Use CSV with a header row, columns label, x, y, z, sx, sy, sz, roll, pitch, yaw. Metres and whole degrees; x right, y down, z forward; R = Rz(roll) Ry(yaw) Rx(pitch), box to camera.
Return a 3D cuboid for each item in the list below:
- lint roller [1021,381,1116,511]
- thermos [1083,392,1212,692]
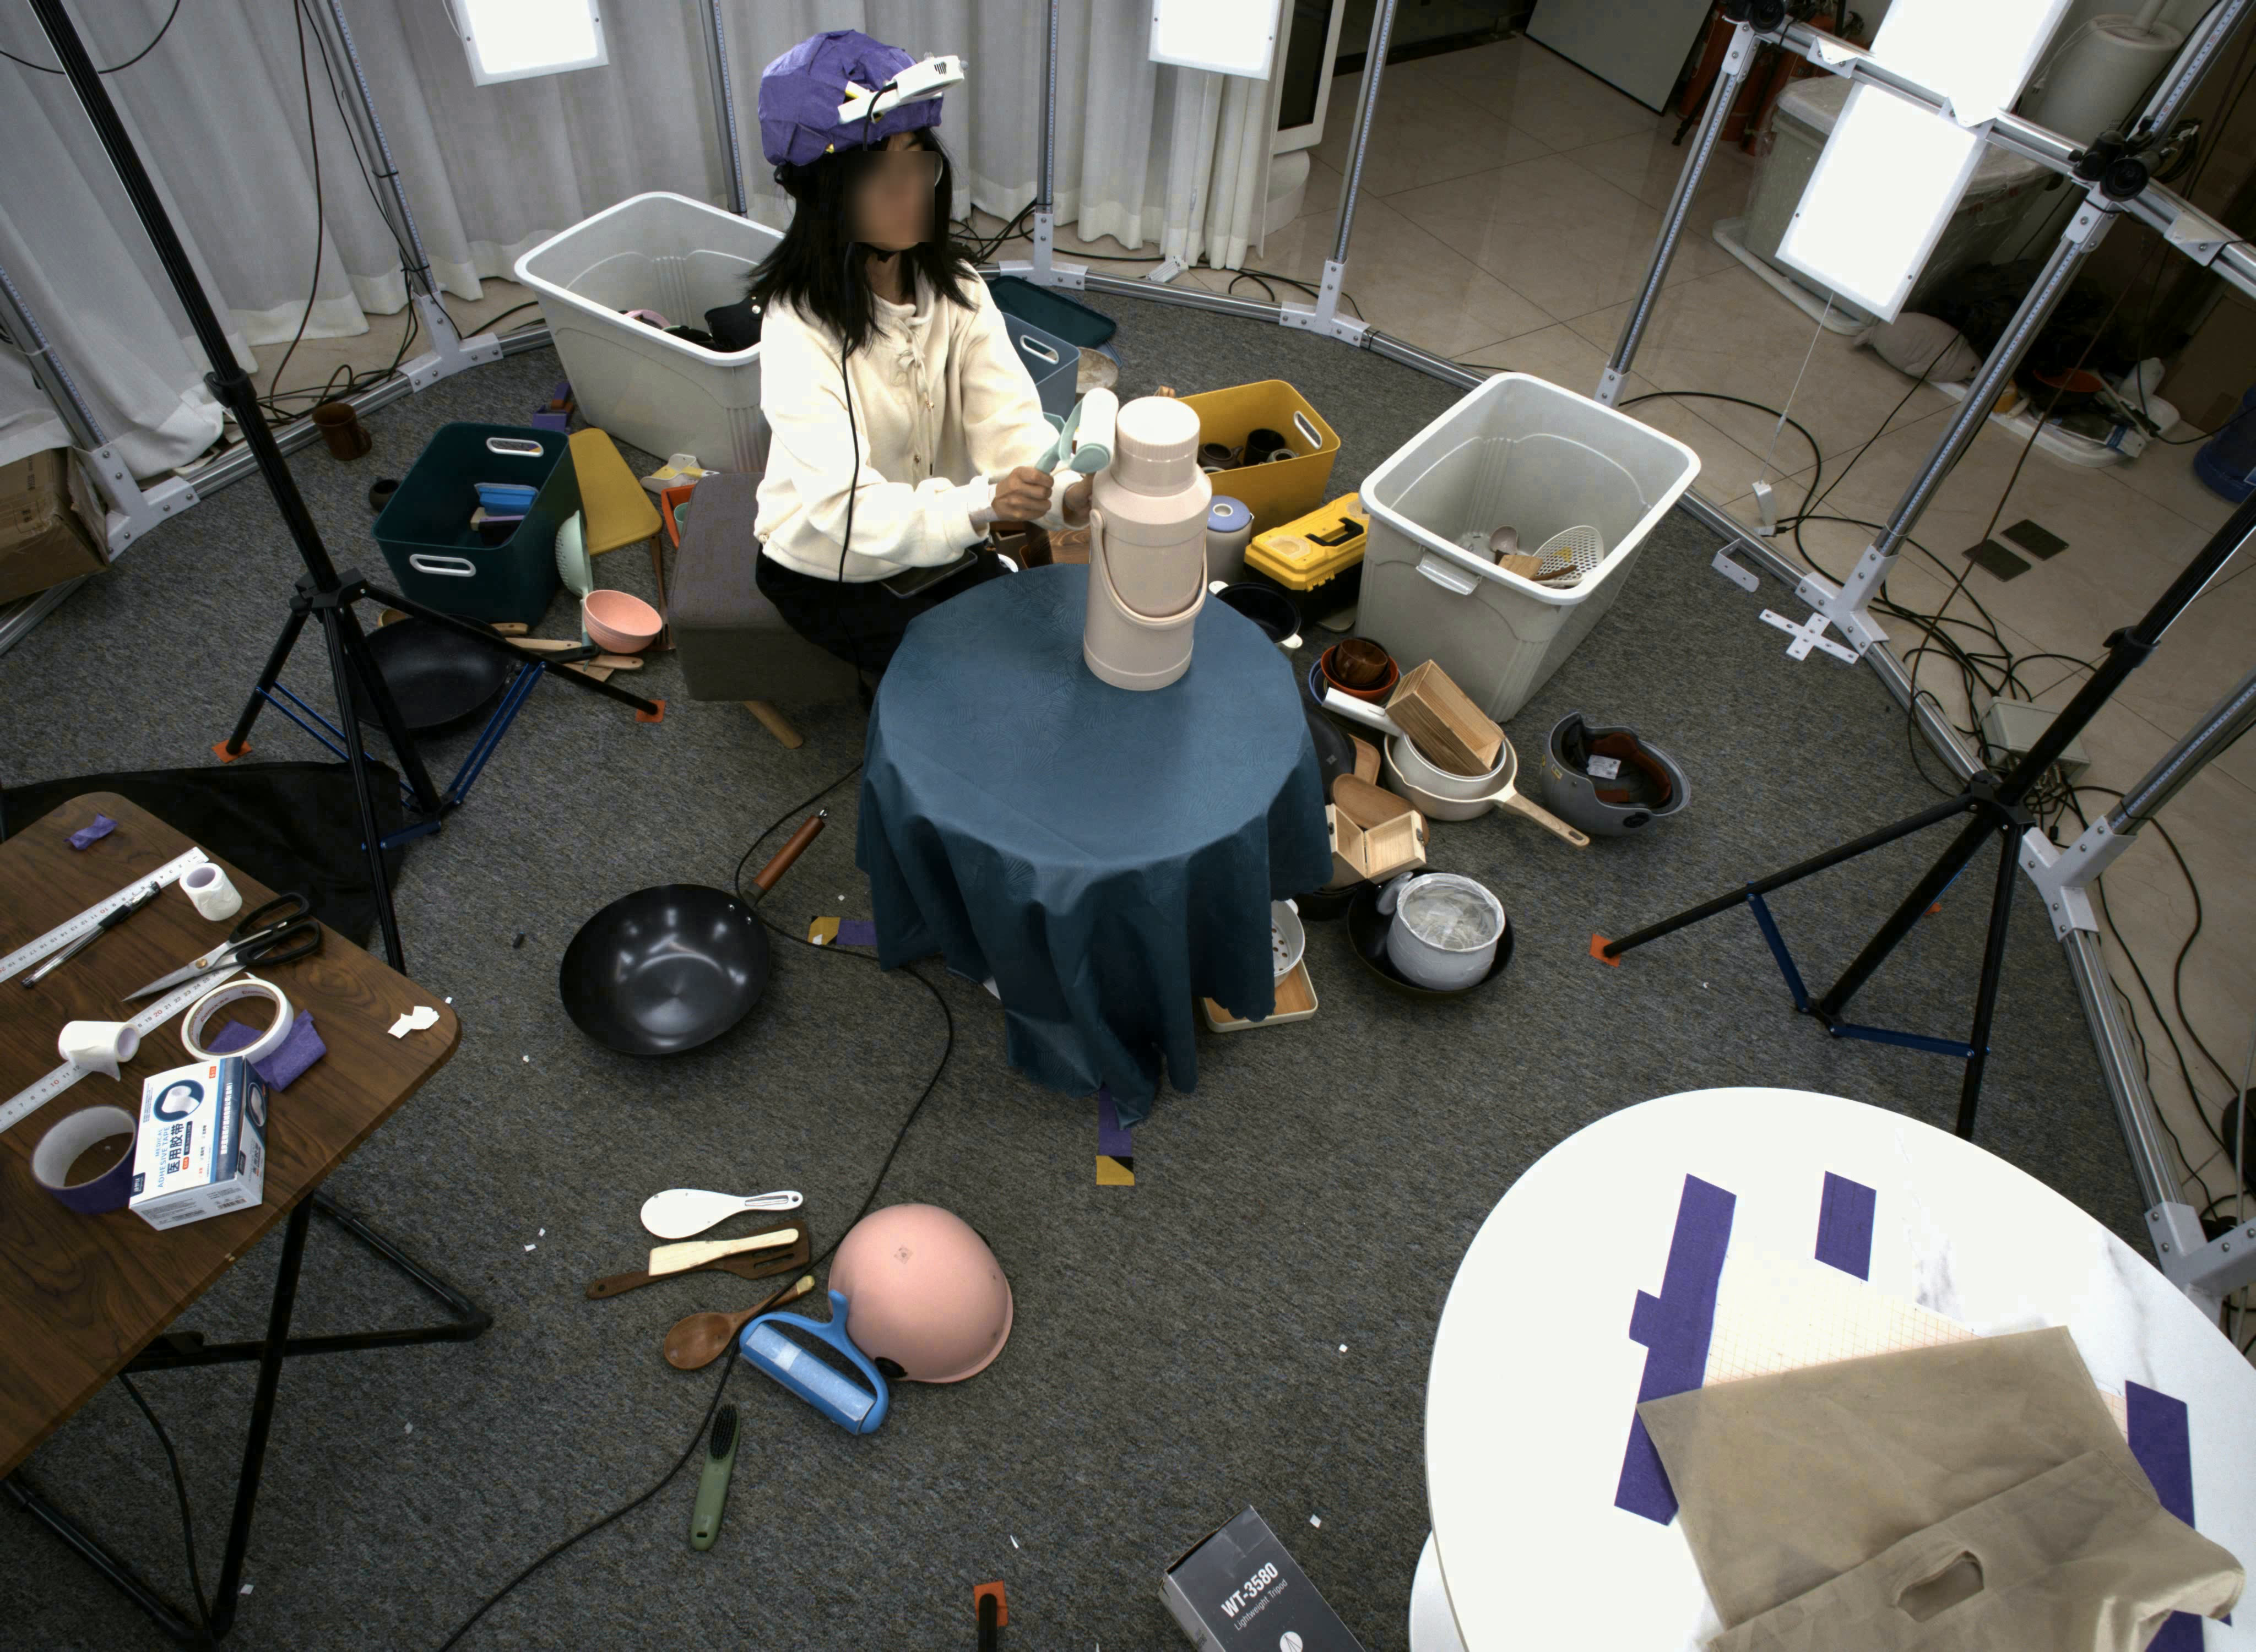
label,x,y,z,sx,sy,sz,roll,pitch,yaw
lint roller,-0.087,-0.474,1.658,0.048,0.196,0.119,27,51,-32
thermos,0.019,-0.388,1.753,0.176,0.396,0.211,-23,55,-22
